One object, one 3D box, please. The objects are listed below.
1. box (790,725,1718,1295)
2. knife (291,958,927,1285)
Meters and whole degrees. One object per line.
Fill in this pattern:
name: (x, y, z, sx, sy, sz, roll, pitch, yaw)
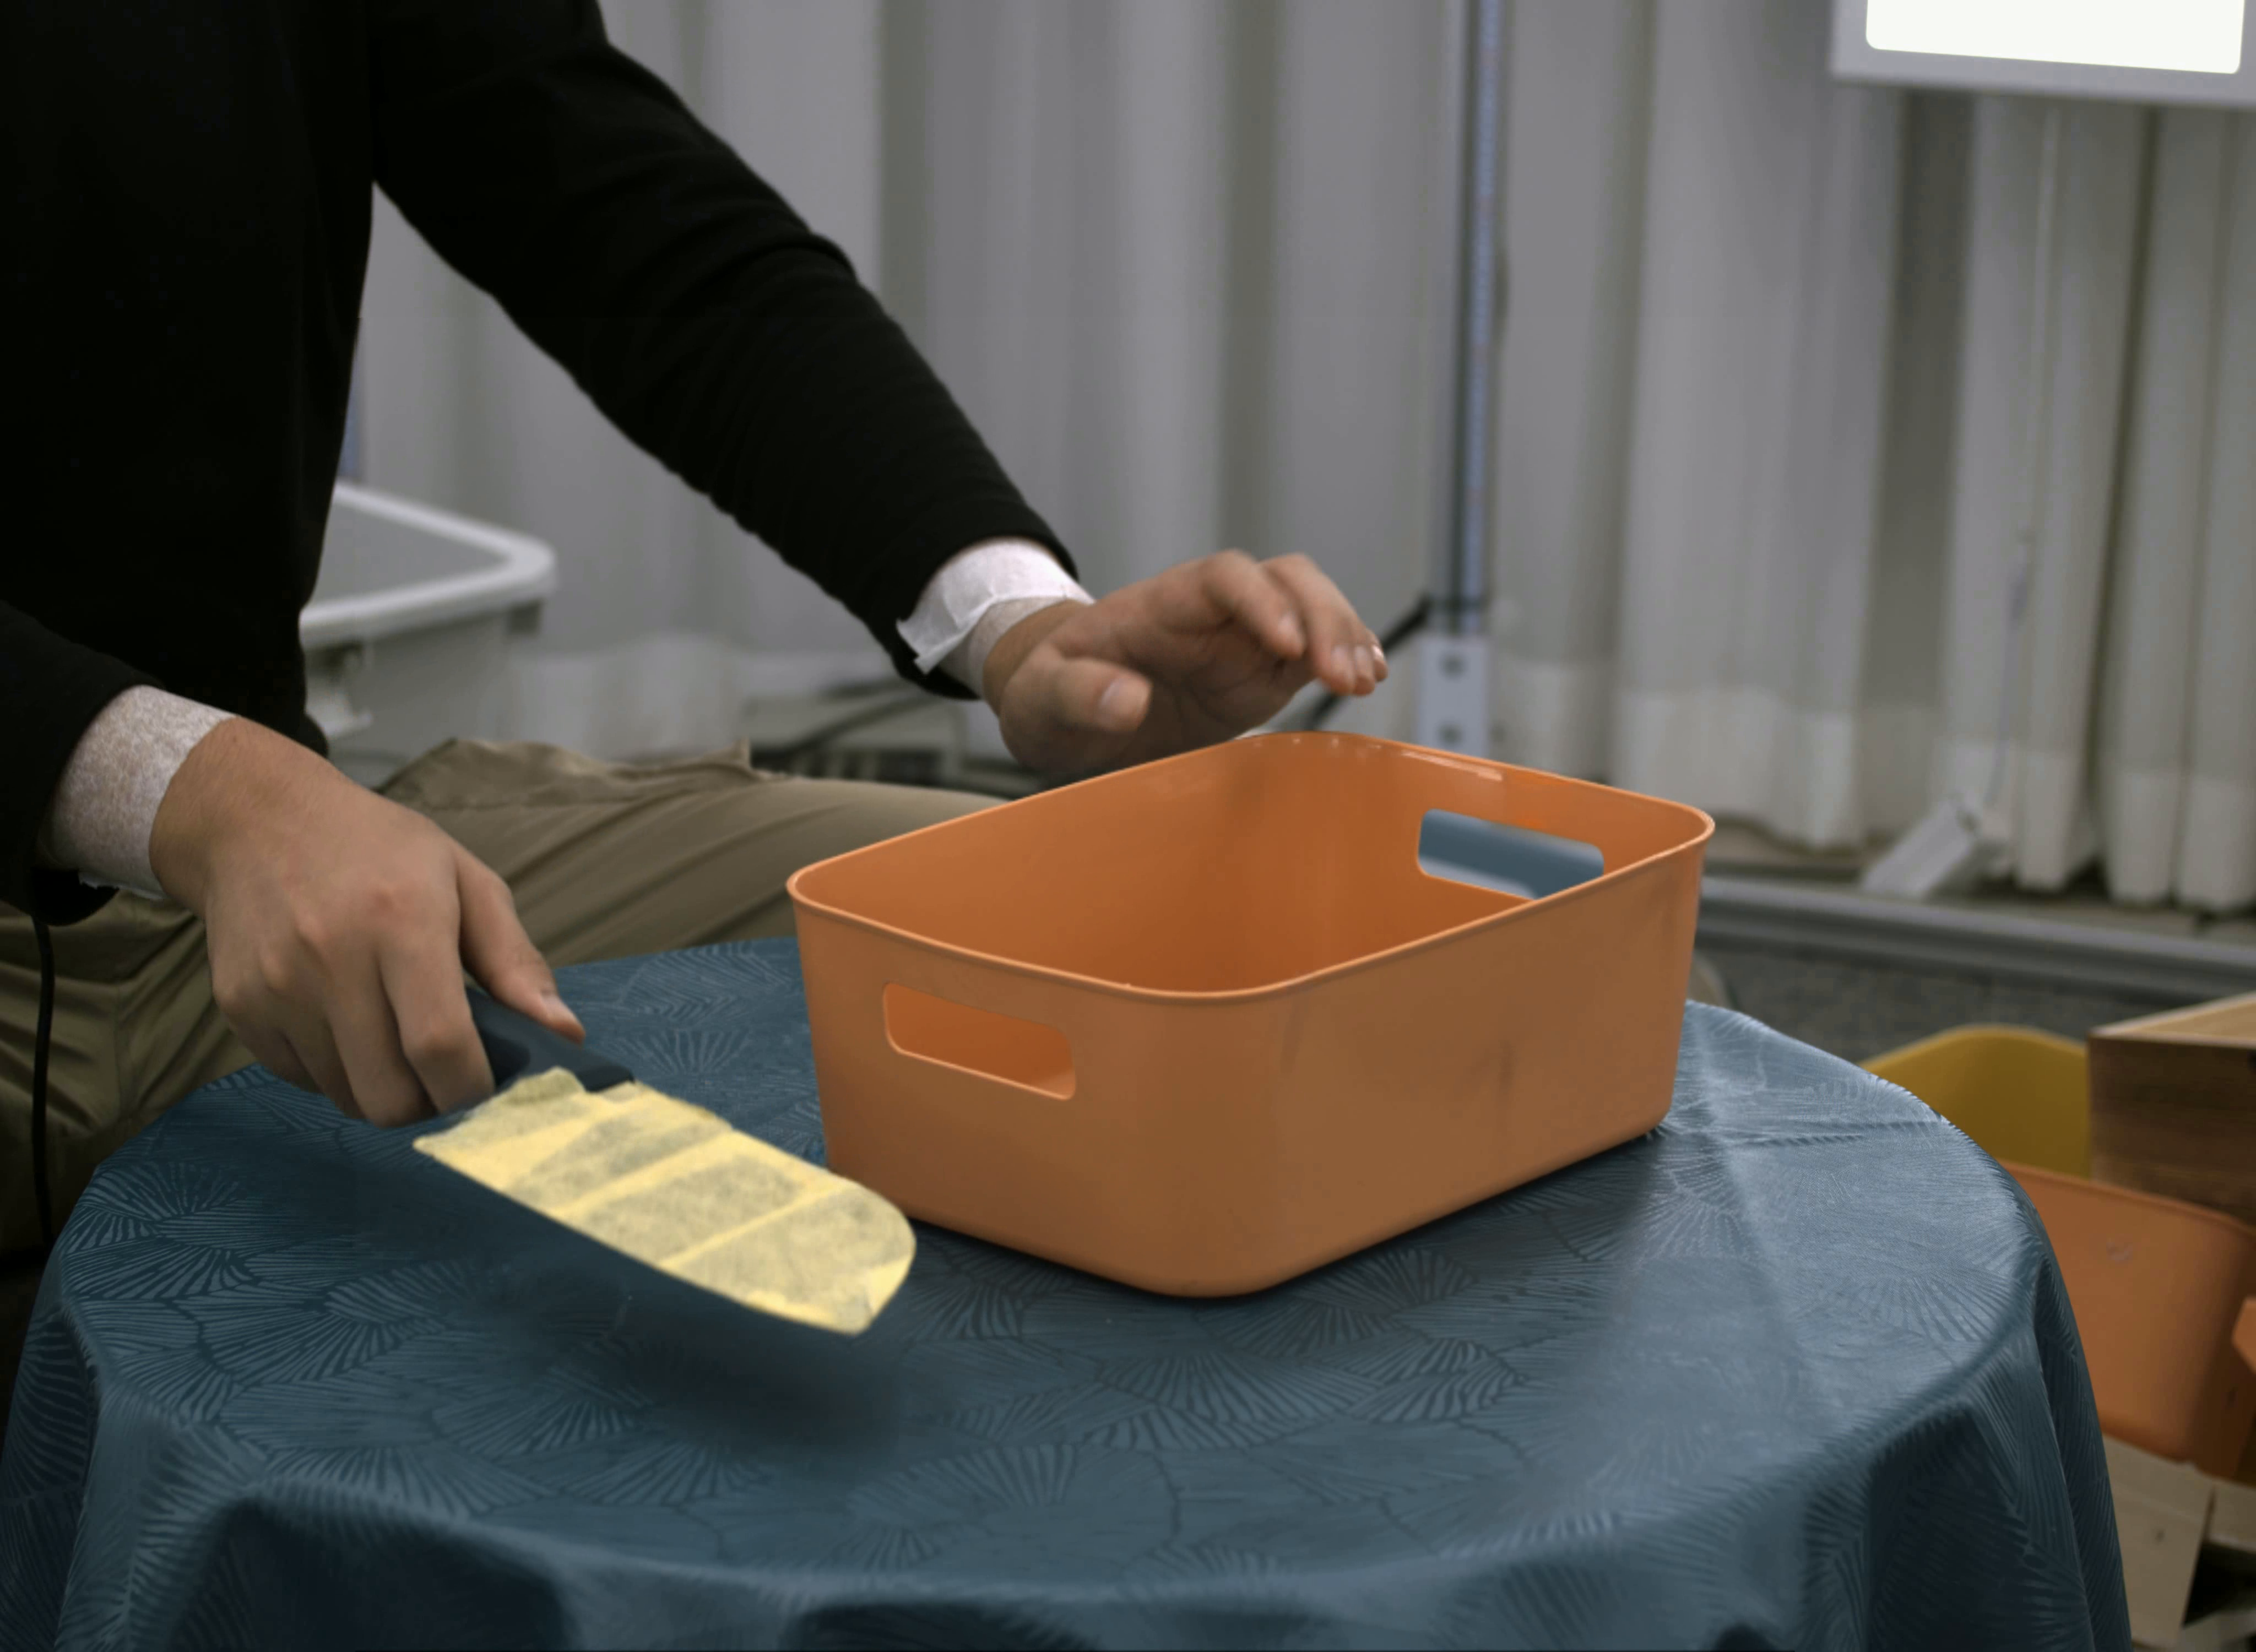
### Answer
box: (0.040, 0.054, 1.639, 0.197, 0.103, 0.274, 14, 21, 39)
knife: (-0.160, 0.085, 1.503, 0.081, 0.027, 0.285, -15, 25, -41)
